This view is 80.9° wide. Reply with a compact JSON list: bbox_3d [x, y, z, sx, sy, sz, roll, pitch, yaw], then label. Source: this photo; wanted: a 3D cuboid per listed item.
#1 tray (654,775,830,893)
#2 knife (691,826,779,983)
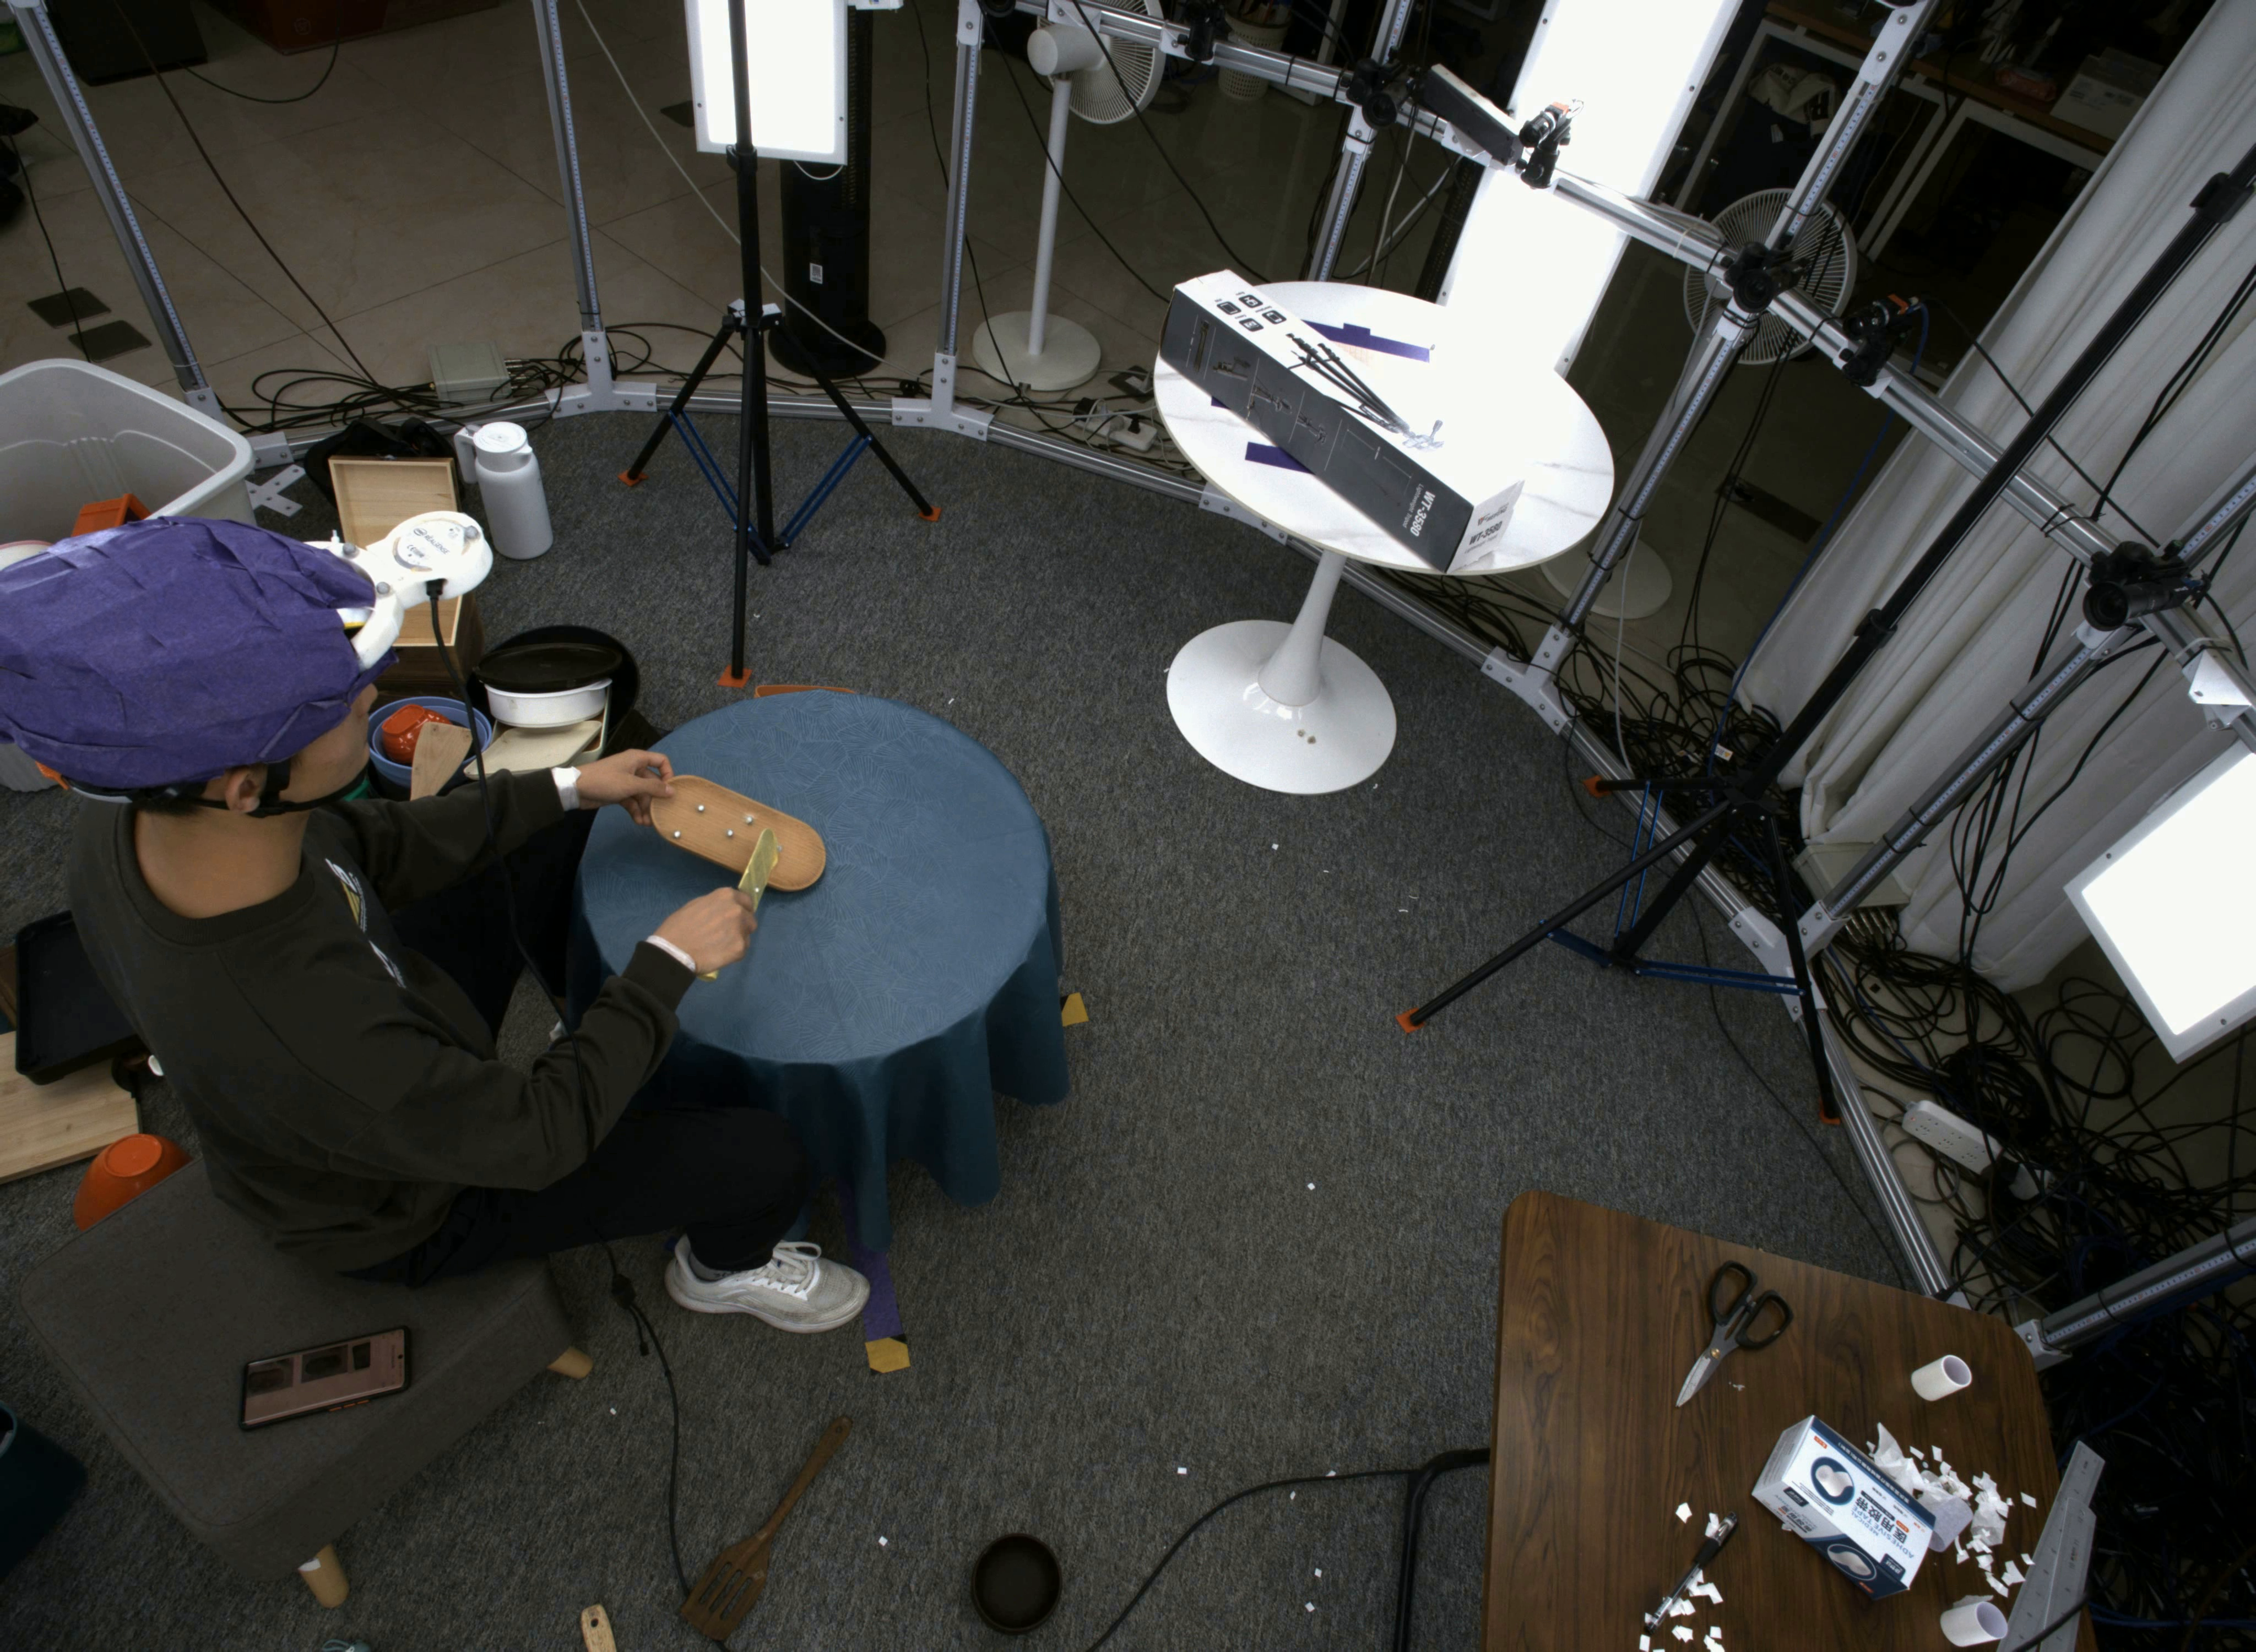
[{"bbox_3d":[-0.491,0.010,1.649,0.236,0.020,0.101,26,59,-24],"label":"tray"},{"bbox_3d":[-0.460,0.093,1.541,0.027,0.083,0.284,3,35,4],"label":"knife"}]
